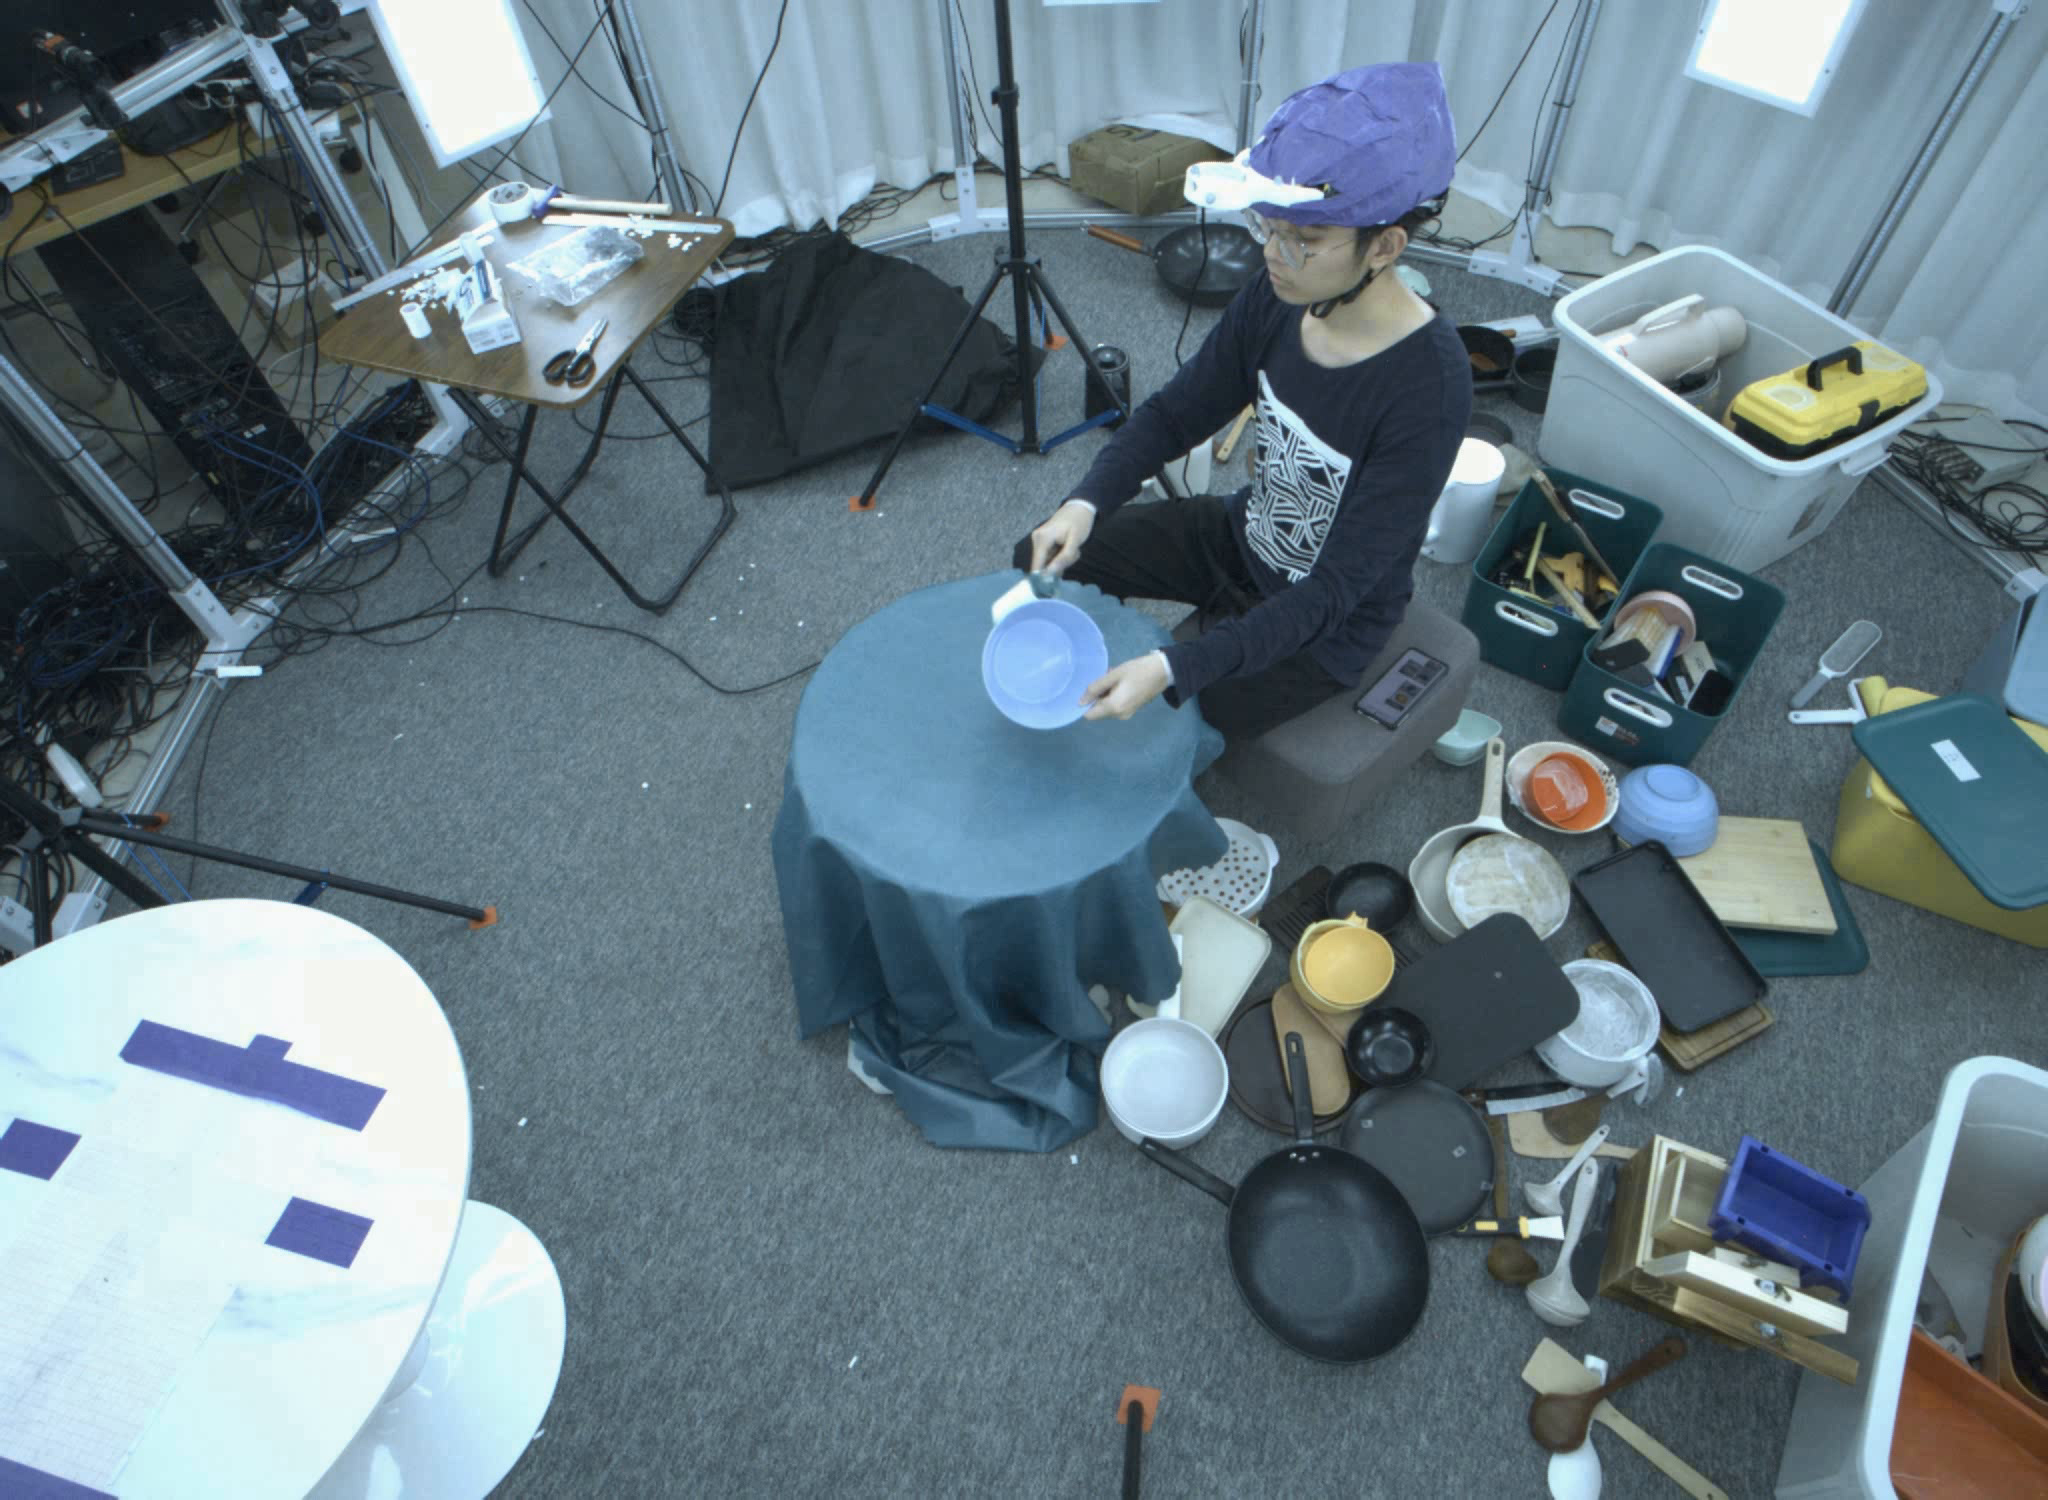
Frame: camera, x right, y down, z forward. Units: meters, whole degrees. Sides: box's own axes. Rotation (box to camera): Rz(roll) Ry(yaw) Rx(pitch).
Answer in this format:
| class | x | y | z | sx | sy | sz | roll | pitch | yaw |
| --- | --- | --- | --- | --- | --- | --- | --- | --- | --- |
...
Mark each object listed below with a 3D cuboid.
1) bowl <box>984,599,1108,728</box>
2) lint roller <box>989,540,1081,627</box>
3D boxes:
| class | x | y | z | sx | sy | sz | roll | pitch | yaw |
| --- | --- | --- | --- | --- | --- | --- | --- | --- | --- |
| bowl | 0.023 | -0.122 | 1.697 | 0.177 | 0.177 | 0.069 | -21 | 15 | -12 |
| lint roller | 0.024 | -0.257 | 1.748 | 0.049 | 0.132 | 0.180 | 41 | 55 | -13 |
